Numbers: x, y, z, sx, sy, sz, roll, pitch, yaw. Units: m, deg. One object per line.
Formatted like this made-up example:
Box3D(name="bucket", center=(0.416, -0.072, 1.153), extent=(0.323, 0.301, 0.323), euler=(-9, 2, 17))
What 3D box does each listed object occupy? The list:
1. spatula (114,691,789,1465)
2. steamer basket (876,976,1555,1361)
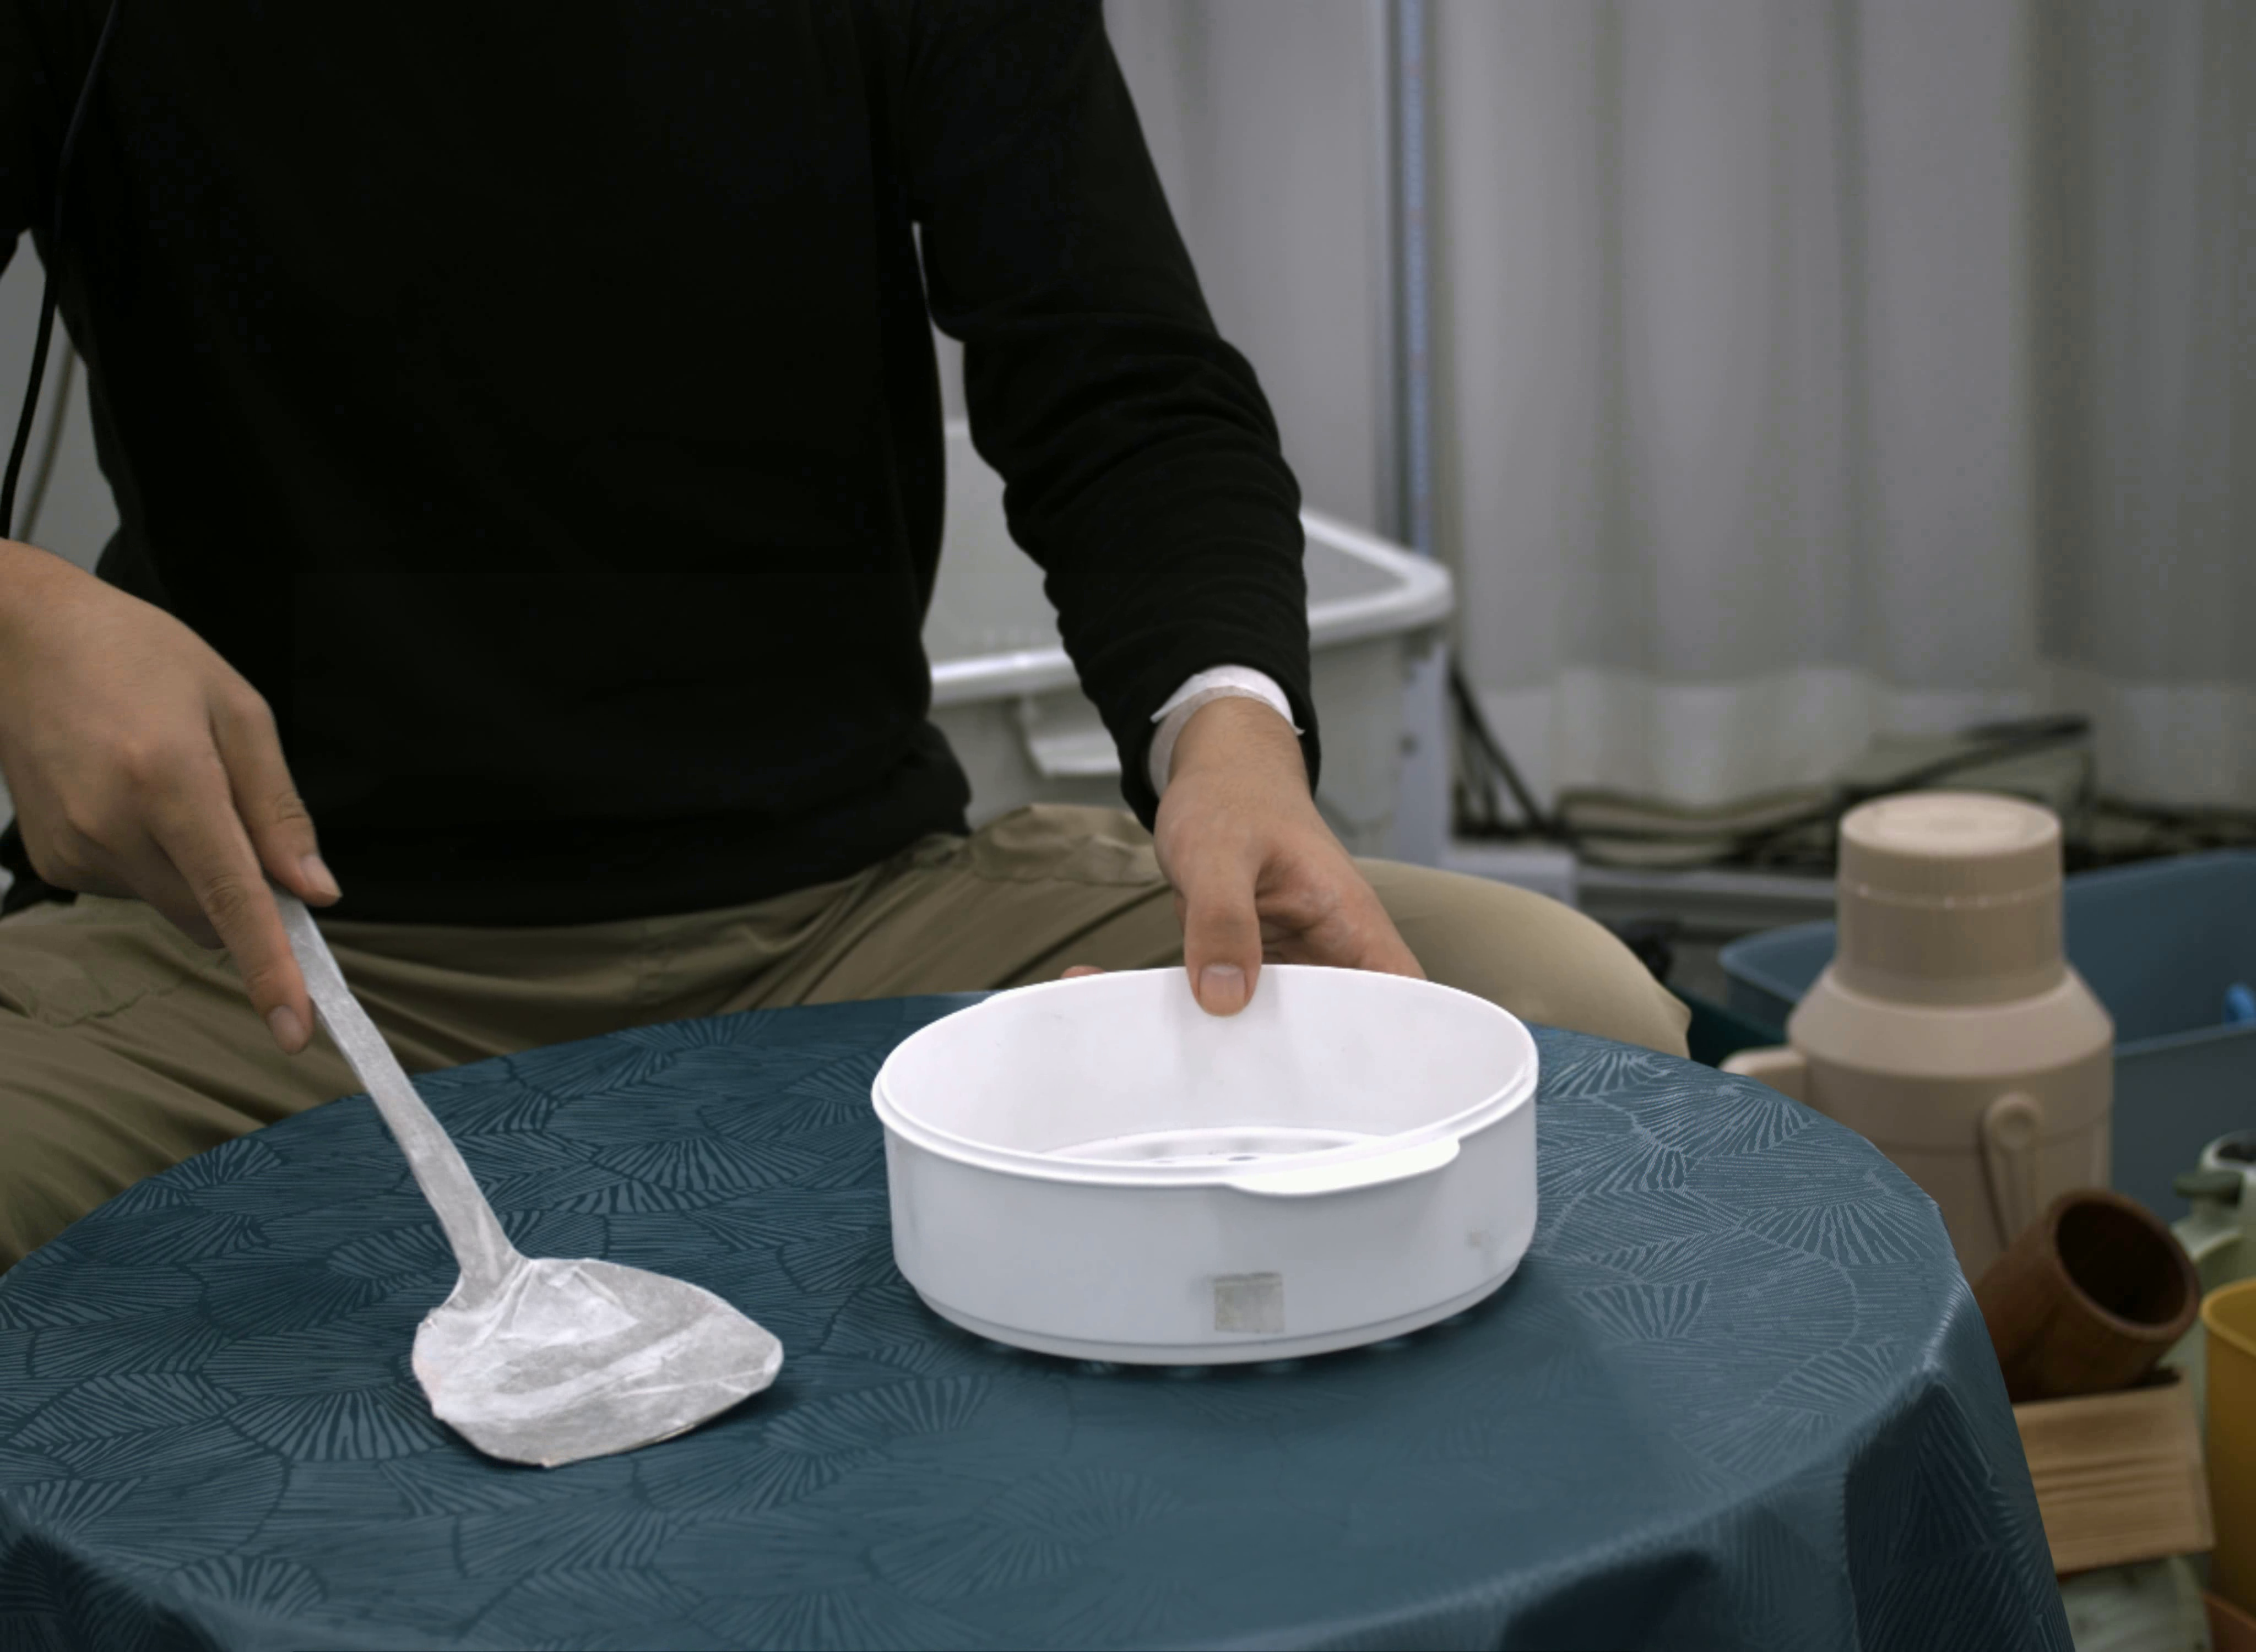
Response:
Box3D(name="spatula", center=(-0.225, 0.064, 1.636), extent=(0.098, 0.044, 0.370), euler=(-19, 51, -27))
Box3D(name="steamer basket", center=(0.027, 0.101, 1.625), extent=(0.201, 0.069, 0.232), euler=(-7, 14, -21))
